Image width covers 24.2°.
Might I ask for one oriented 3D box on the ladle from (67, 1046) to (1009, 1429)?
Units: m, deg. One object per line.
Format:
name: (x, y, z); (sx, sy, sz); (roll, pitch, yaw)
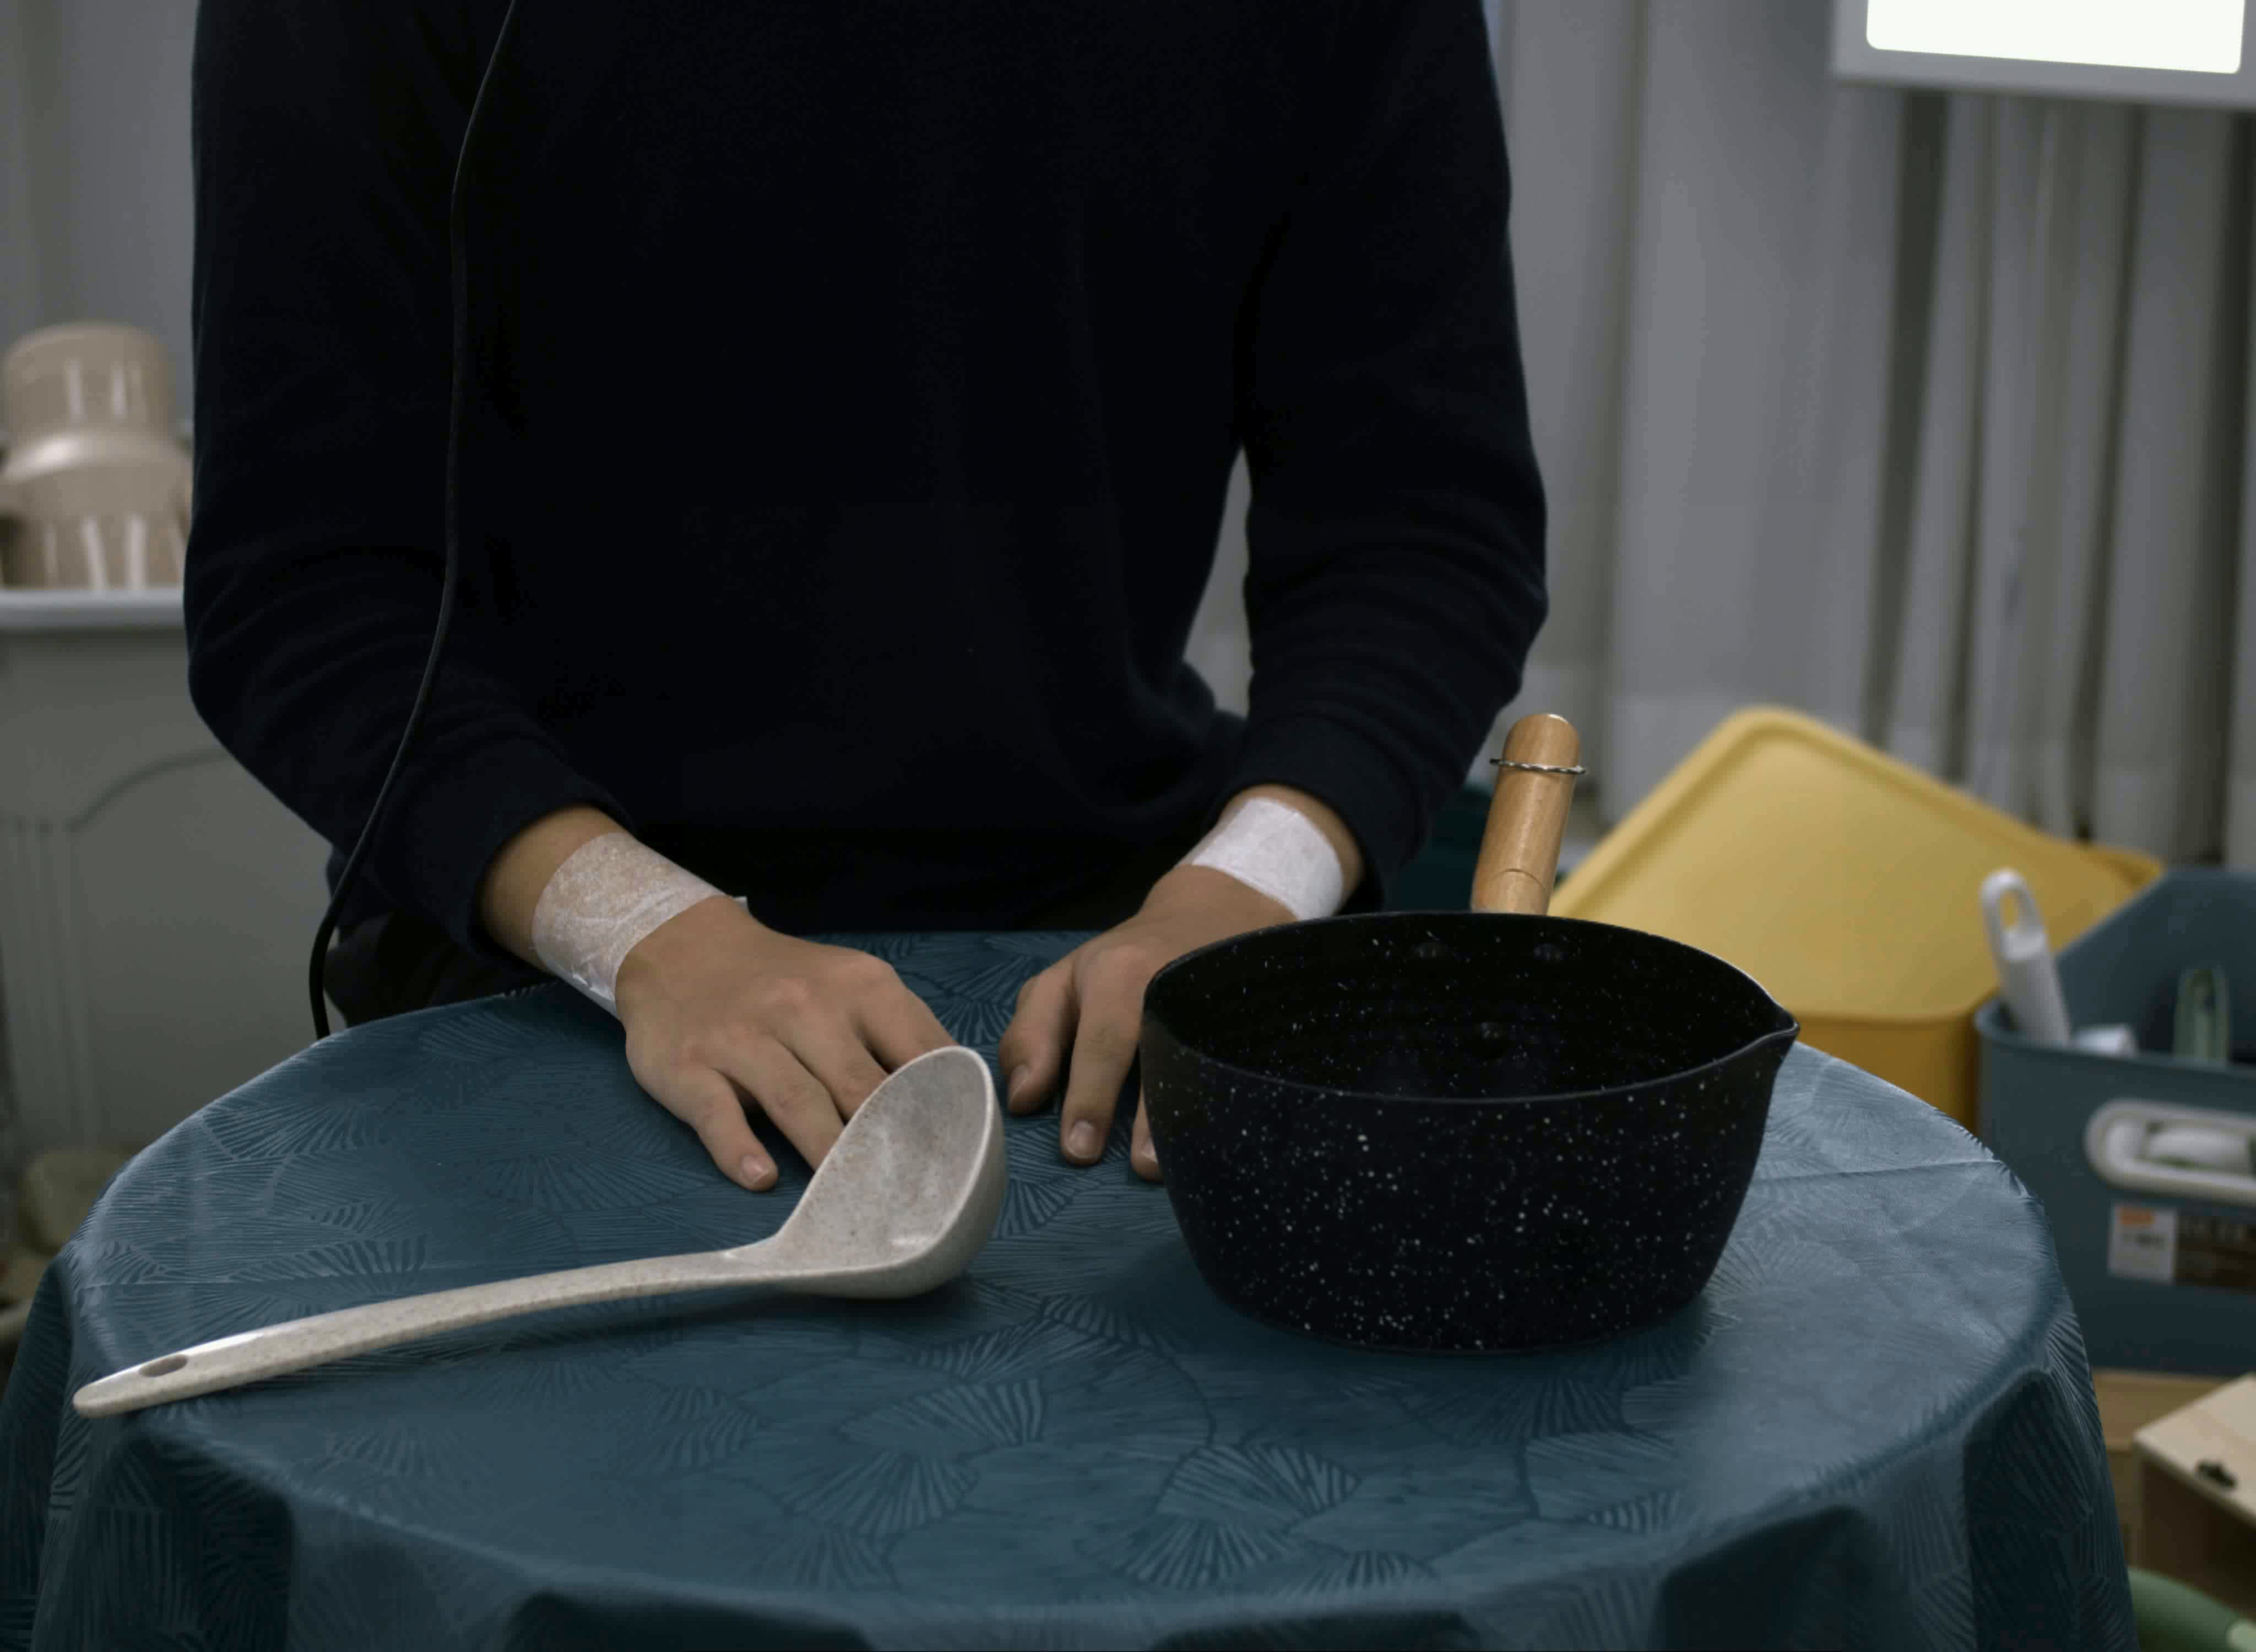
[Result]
ladle: (-0.165, 0.115, 1.487); (0.276, 0.070, 0.088); (-7, 24, -23)

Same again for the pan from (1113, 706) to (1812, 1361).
pan: (0.108, 0.058, 1.618); (0.206, 0.109, 0.342); (2, 17, 9)
